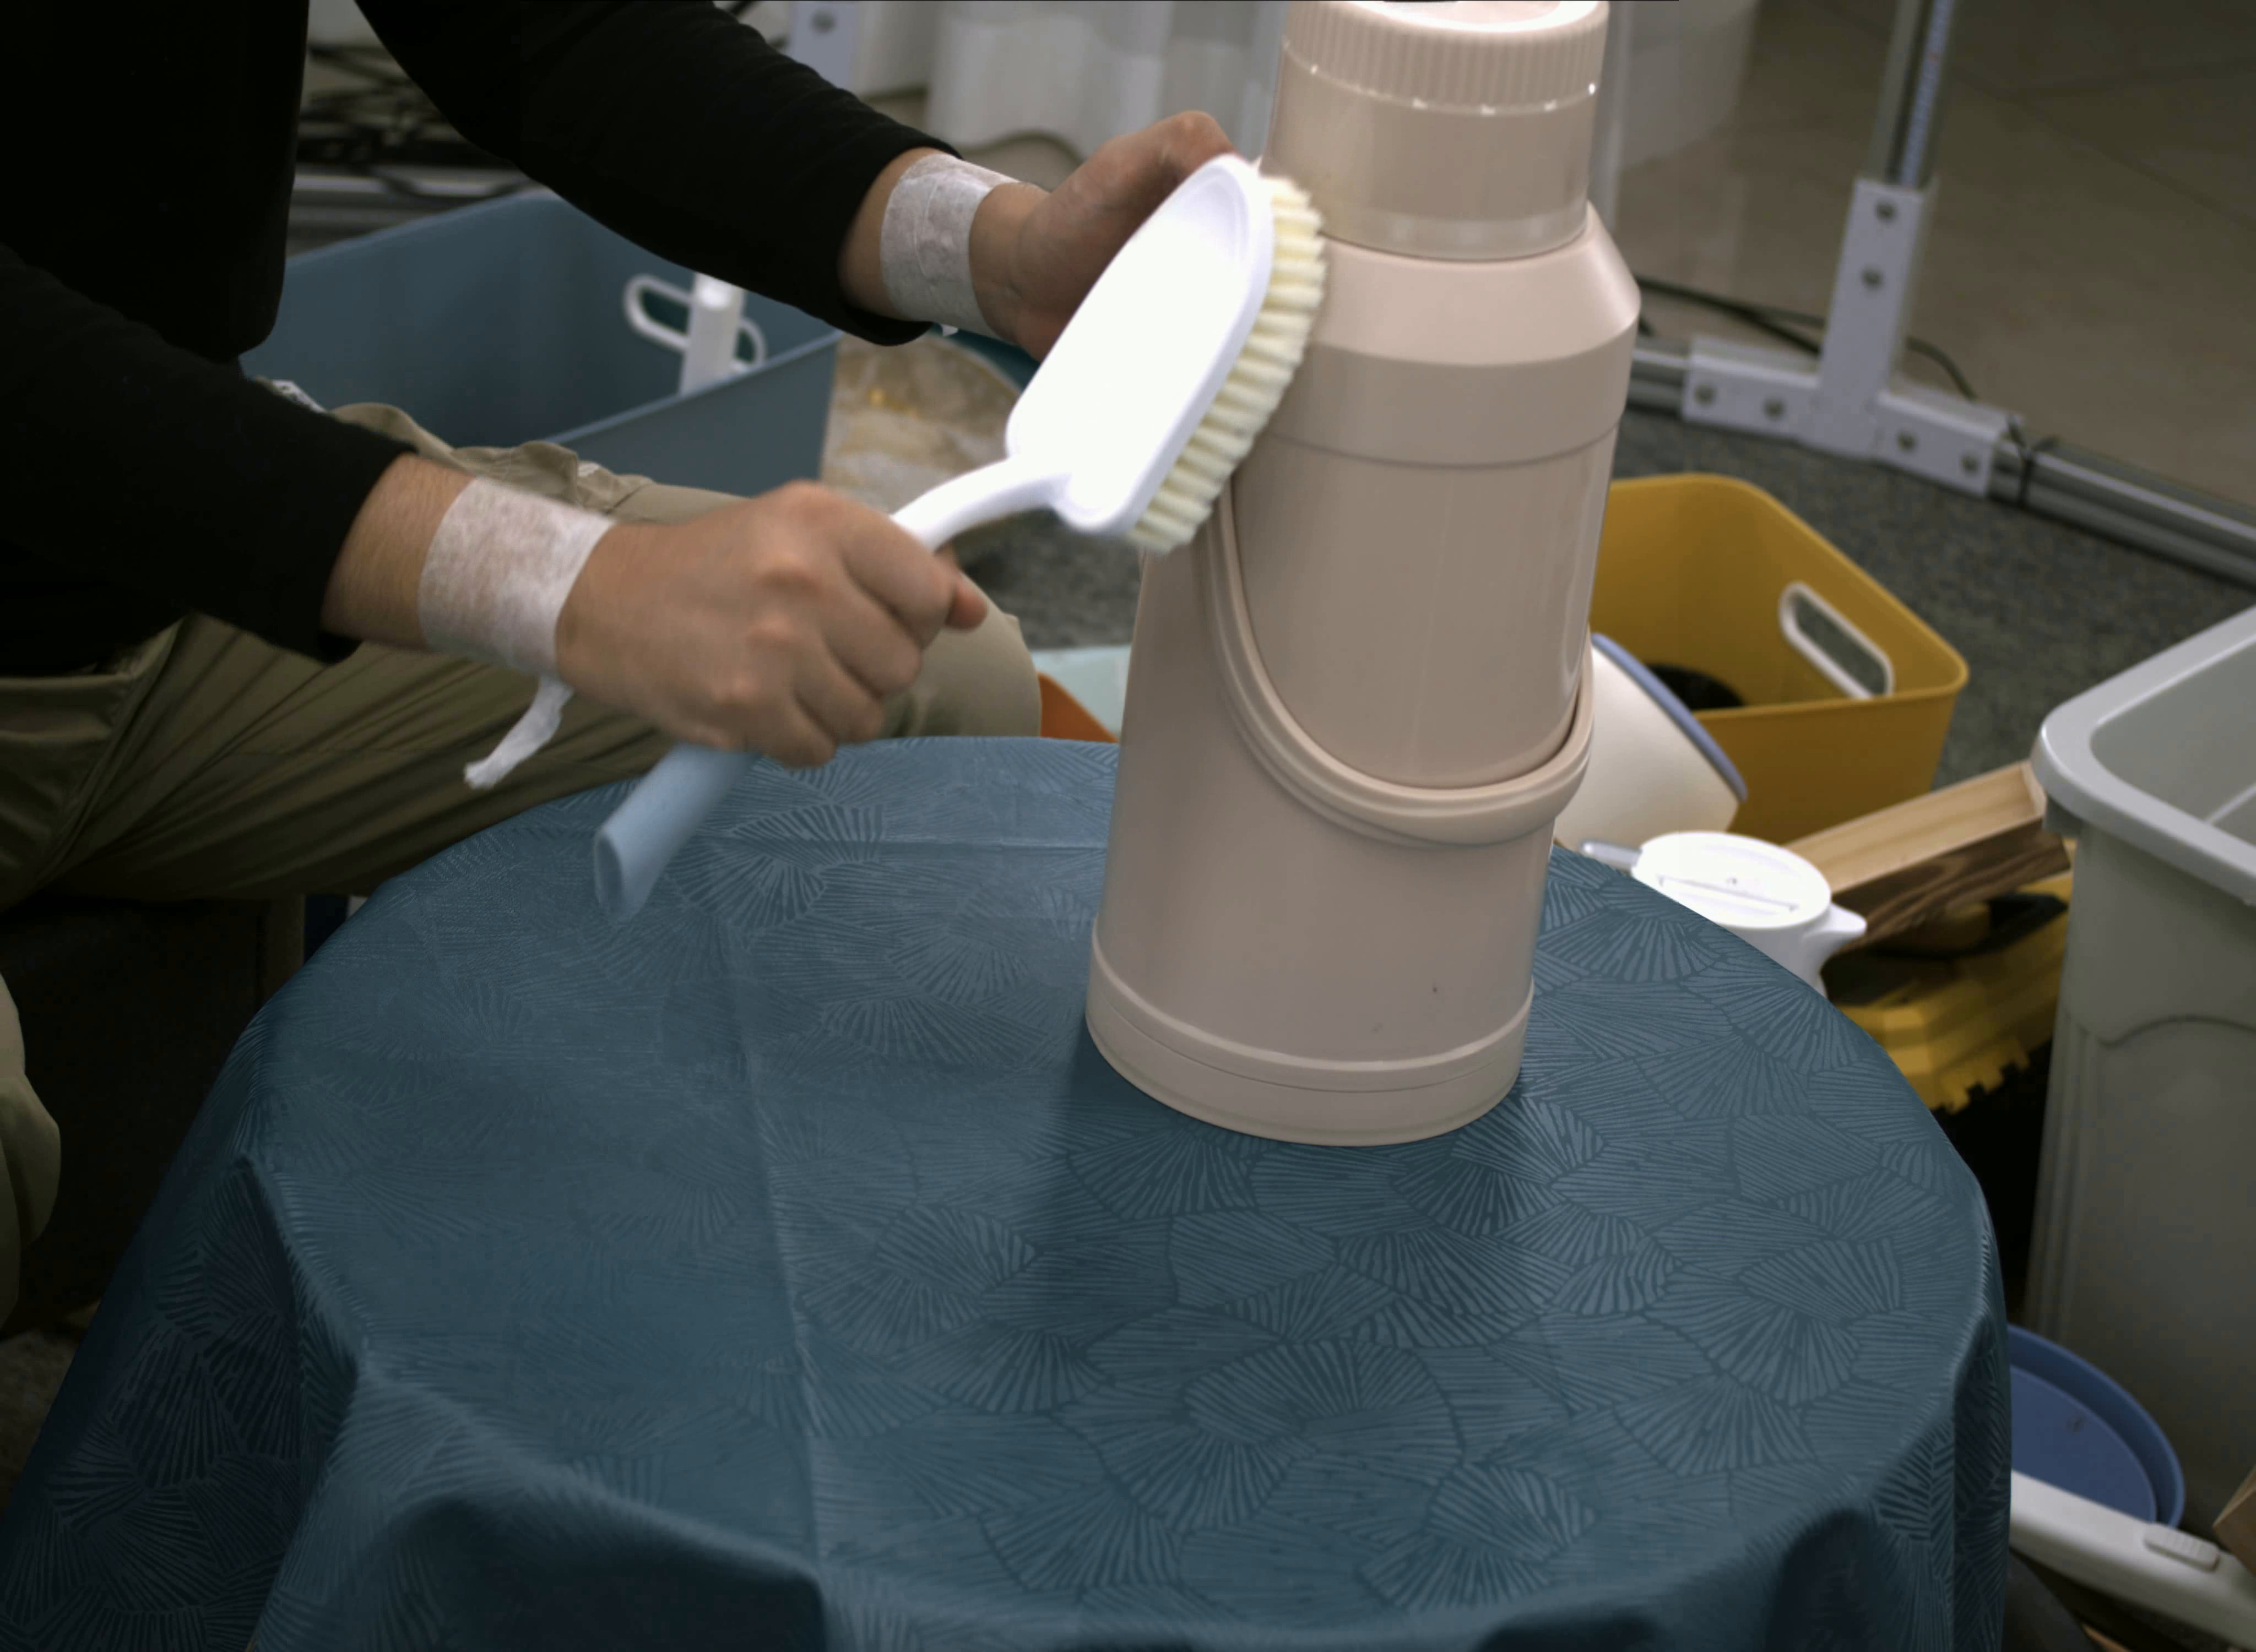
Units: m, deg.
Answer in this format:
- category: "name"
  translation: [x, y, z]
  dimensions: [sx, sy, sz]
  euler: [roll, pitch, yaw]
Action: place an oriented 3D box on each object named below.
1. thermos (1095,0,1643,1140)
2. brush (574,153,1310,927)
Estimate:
- category: "thermos"
  translation: [0.078, -0.108, 1.837]
  dimensions: [0.174, 0.405, 0.209]
  euler: [-17, 35, -36]
- category: "brush"
  translation: [-0.054, -0.082, 1.730]
  dimensions: [0.084, 0.325, 0.083]
  euler: [41, 5, -8]
